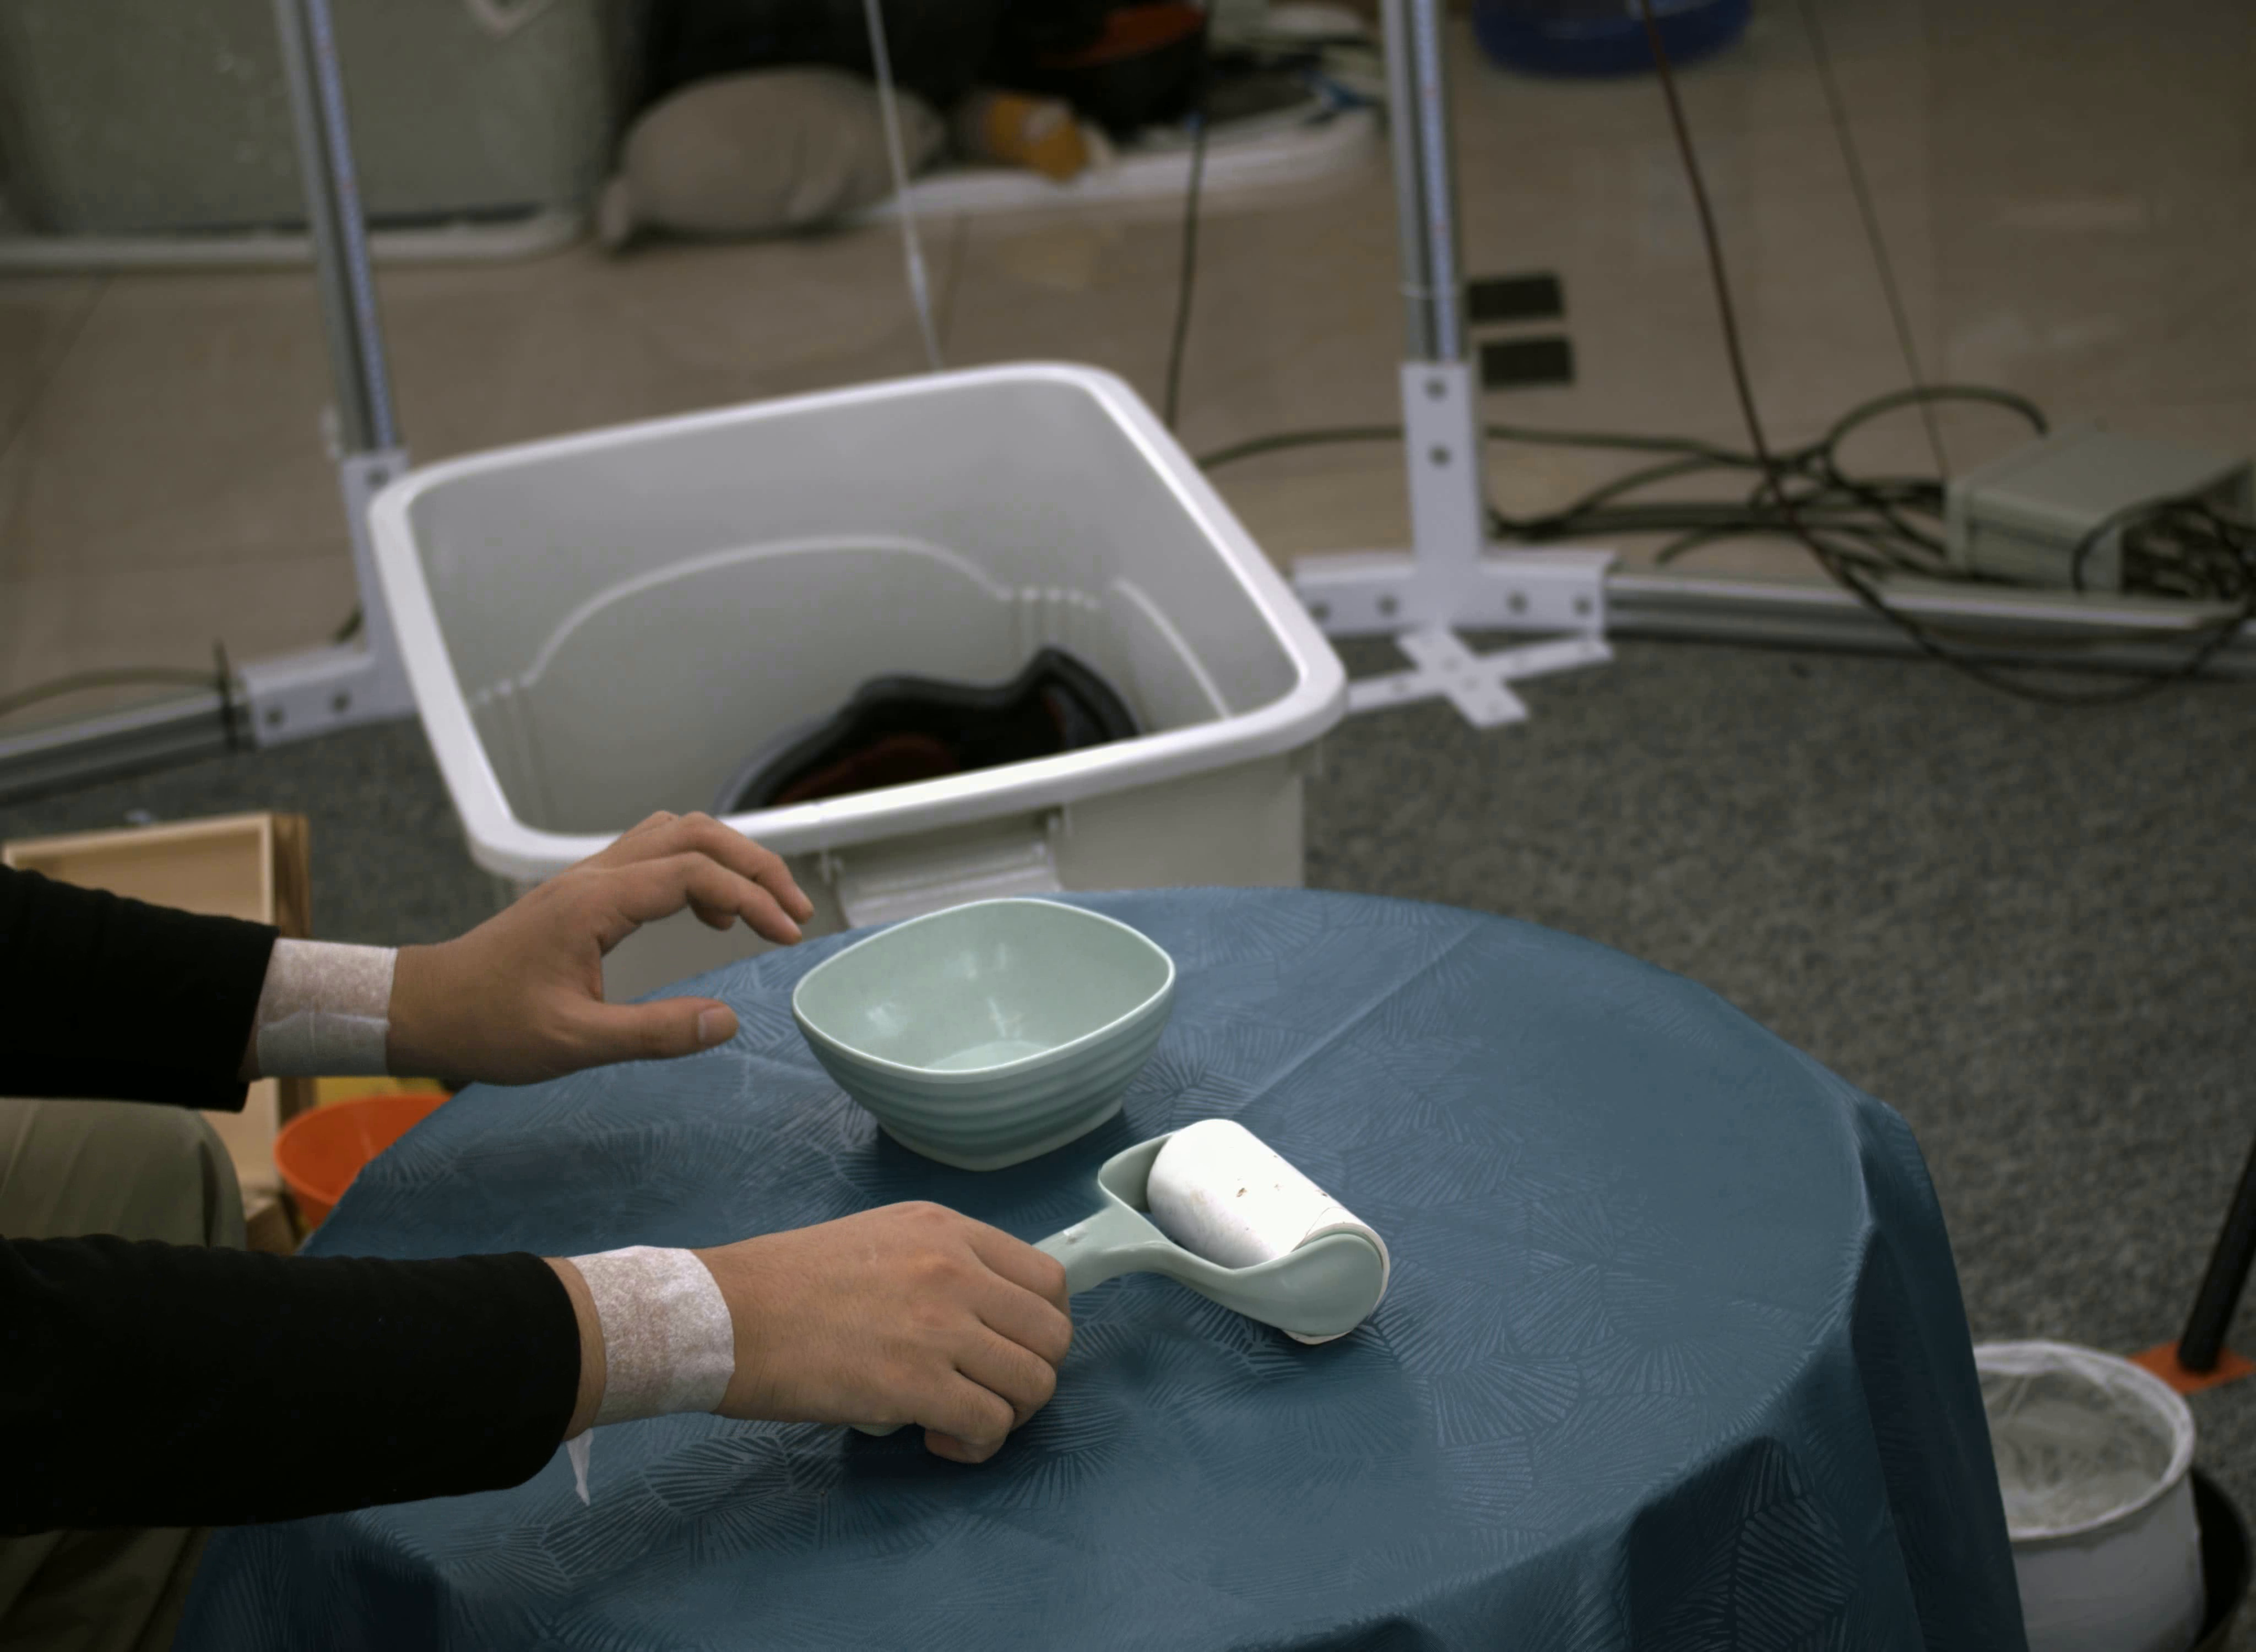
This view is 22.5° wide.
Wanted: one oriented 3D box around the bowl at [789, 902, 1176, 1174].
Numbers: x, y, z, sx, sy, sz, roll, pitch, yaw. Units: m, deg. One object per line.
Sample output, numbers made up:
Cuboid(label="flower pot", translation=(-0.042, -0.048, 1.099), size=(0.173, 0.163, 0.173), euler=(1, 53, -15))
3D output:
Cuboid(label="bowl", translation=(-0.055, 0.087, 2.205), size=(0.151, 0.059, 0.149), euler=(-4, 25, 2))

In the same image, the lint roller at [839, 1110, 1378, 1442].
Cuboid(label="lint roller", translation=(-0.019, 0.165, 2.042), size=(0.196, 0.049, 0.115), euler=(-19, 29, -21))
